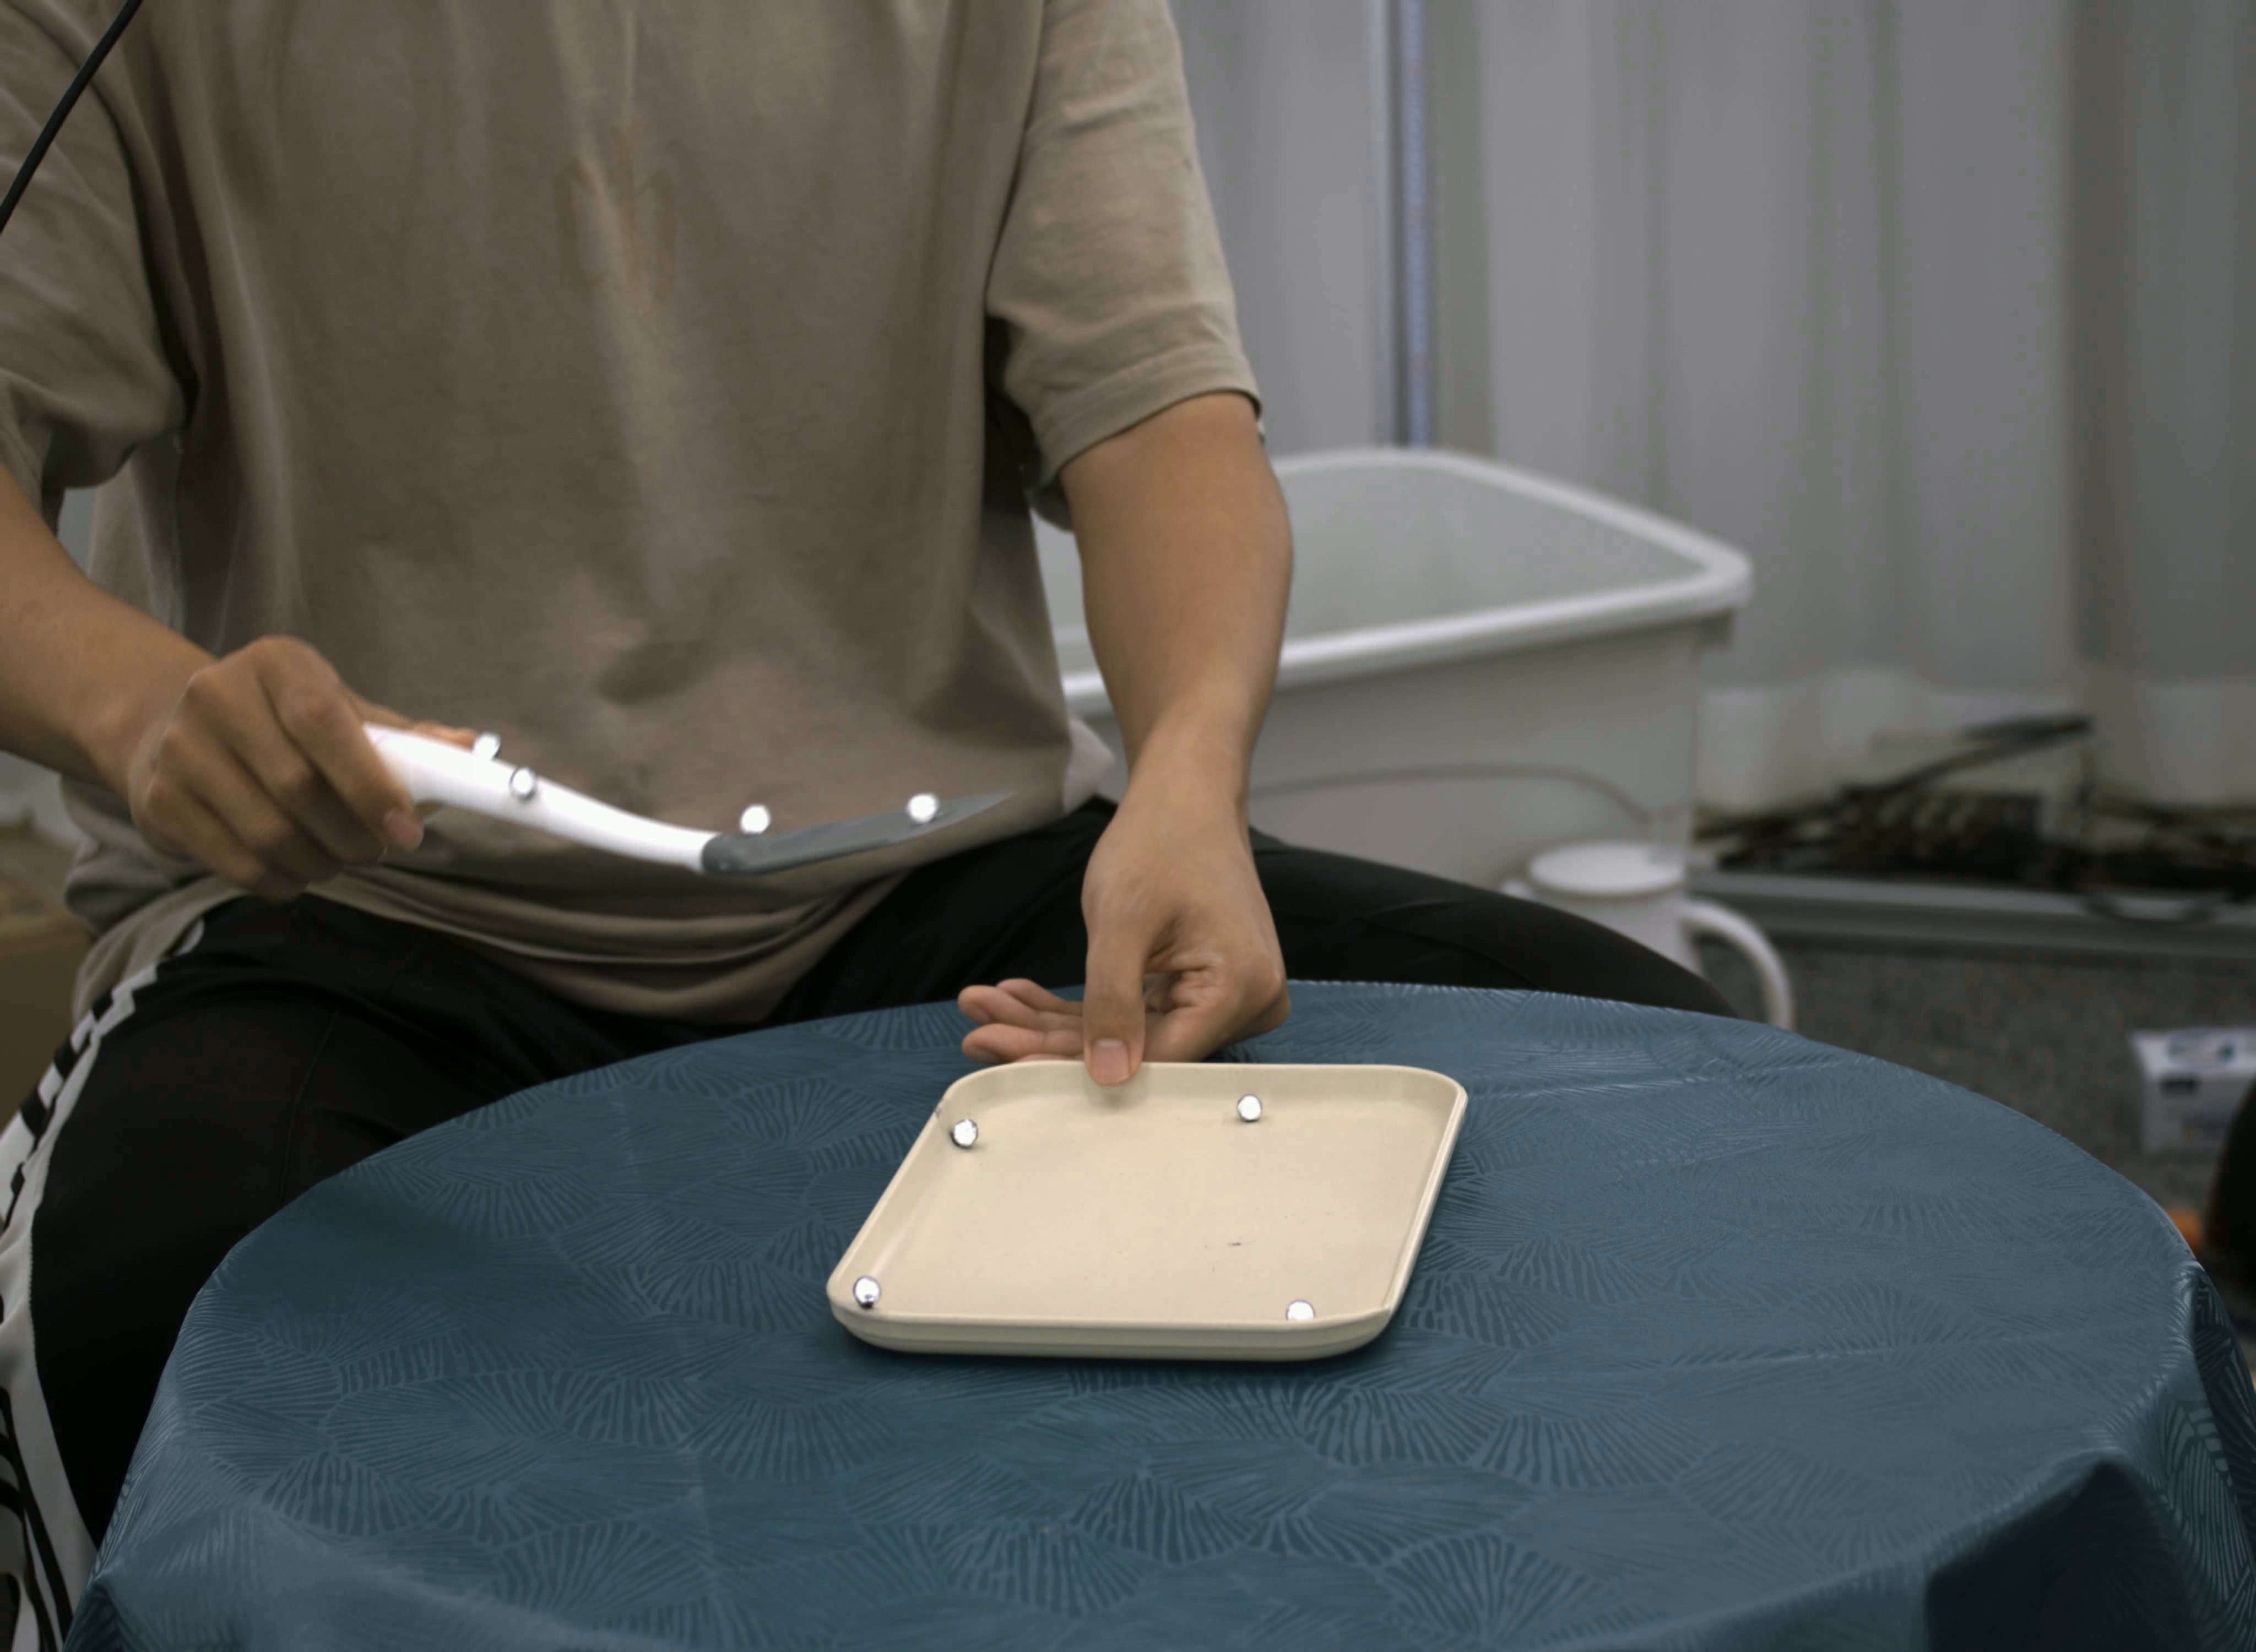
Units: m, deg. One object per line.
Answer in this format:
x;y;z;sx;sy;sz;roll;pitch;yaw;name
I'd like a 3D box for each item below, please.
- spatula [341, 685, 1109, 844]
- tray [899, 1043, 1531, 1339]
-0.124;-0.015;1.600;0.289;0.032;0.058;7;15;41;spatula
0.031;0.111;1.671;0.171;0.017;0.241;1;15;10;tray
